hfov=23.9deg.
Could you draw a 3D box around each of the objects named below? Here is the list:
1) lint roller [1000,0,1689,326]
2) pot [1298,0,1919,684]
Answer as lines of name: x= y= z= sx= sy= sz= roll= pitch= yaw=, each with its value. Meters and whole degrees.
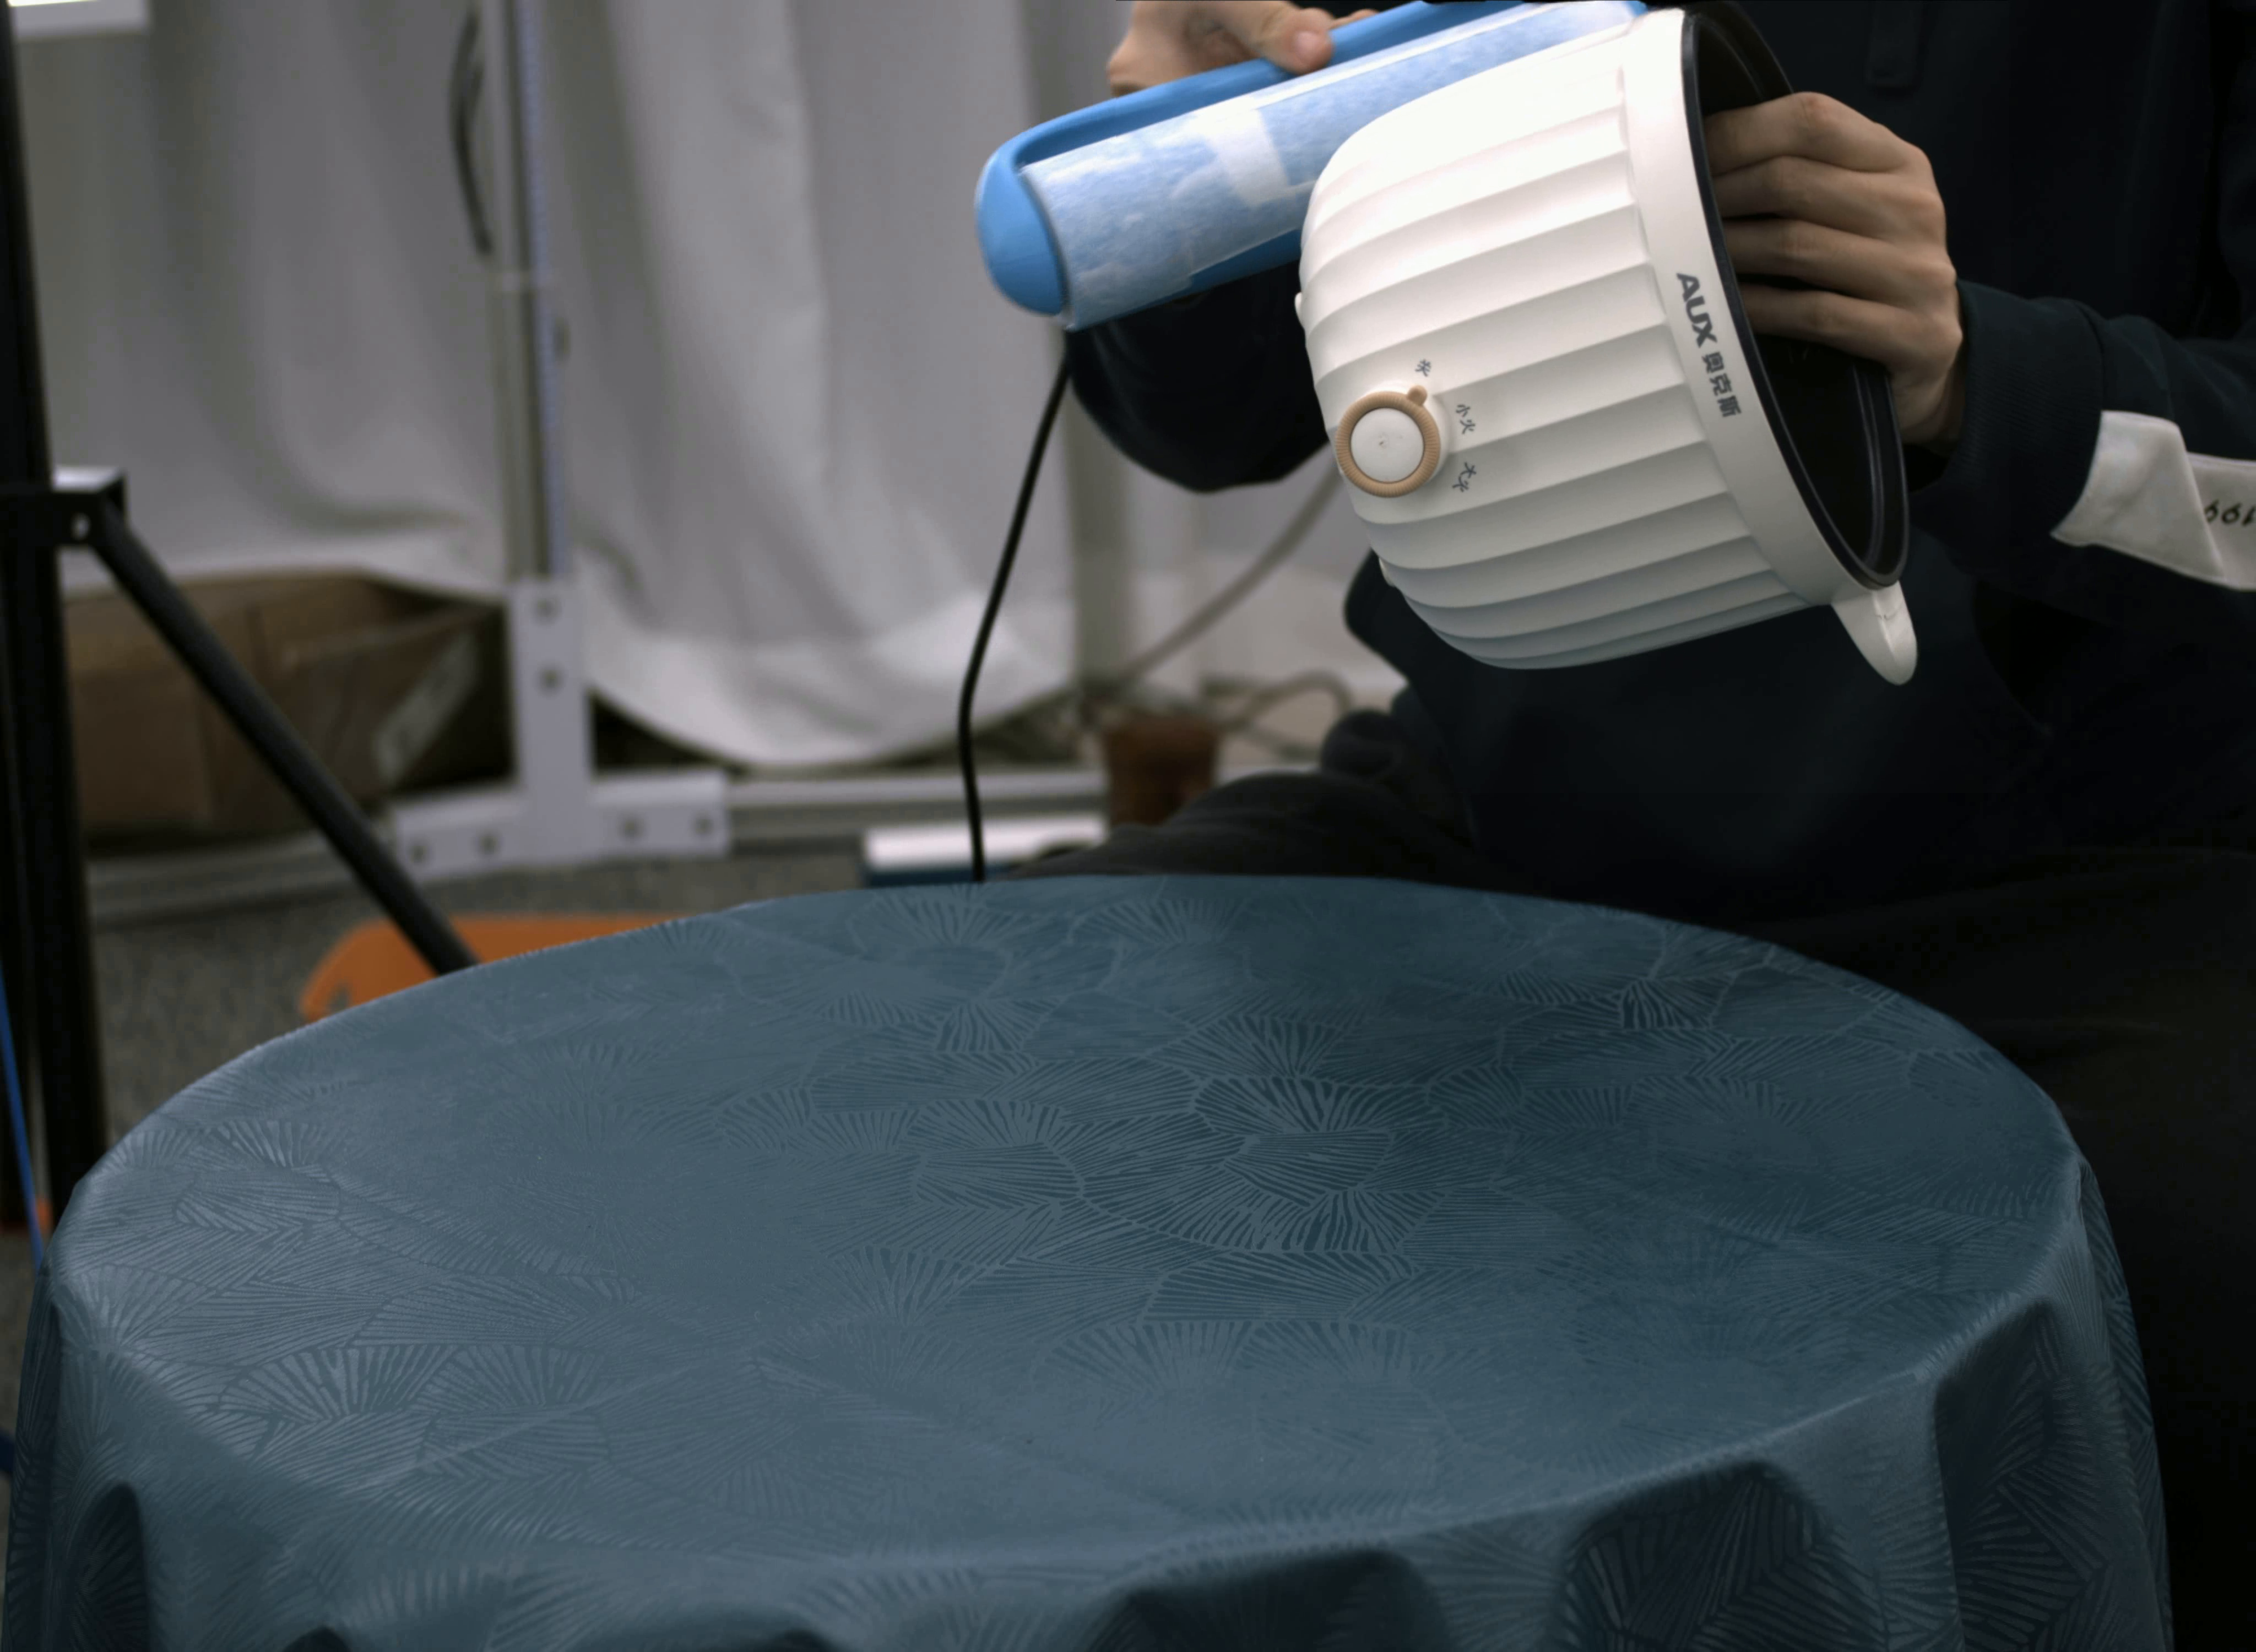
lint roller: x=0.054 y=-0.214 z=1.696 sx=0.226 sy=0.068 sz=0.182 roll=-21 pitch=10 yaw=-12
pot: x=0.136 y=-0.136 z=1.557 sx=0.144 sy=0.240 sz=0.189 roll=-18 pitch=7 yaw=18
